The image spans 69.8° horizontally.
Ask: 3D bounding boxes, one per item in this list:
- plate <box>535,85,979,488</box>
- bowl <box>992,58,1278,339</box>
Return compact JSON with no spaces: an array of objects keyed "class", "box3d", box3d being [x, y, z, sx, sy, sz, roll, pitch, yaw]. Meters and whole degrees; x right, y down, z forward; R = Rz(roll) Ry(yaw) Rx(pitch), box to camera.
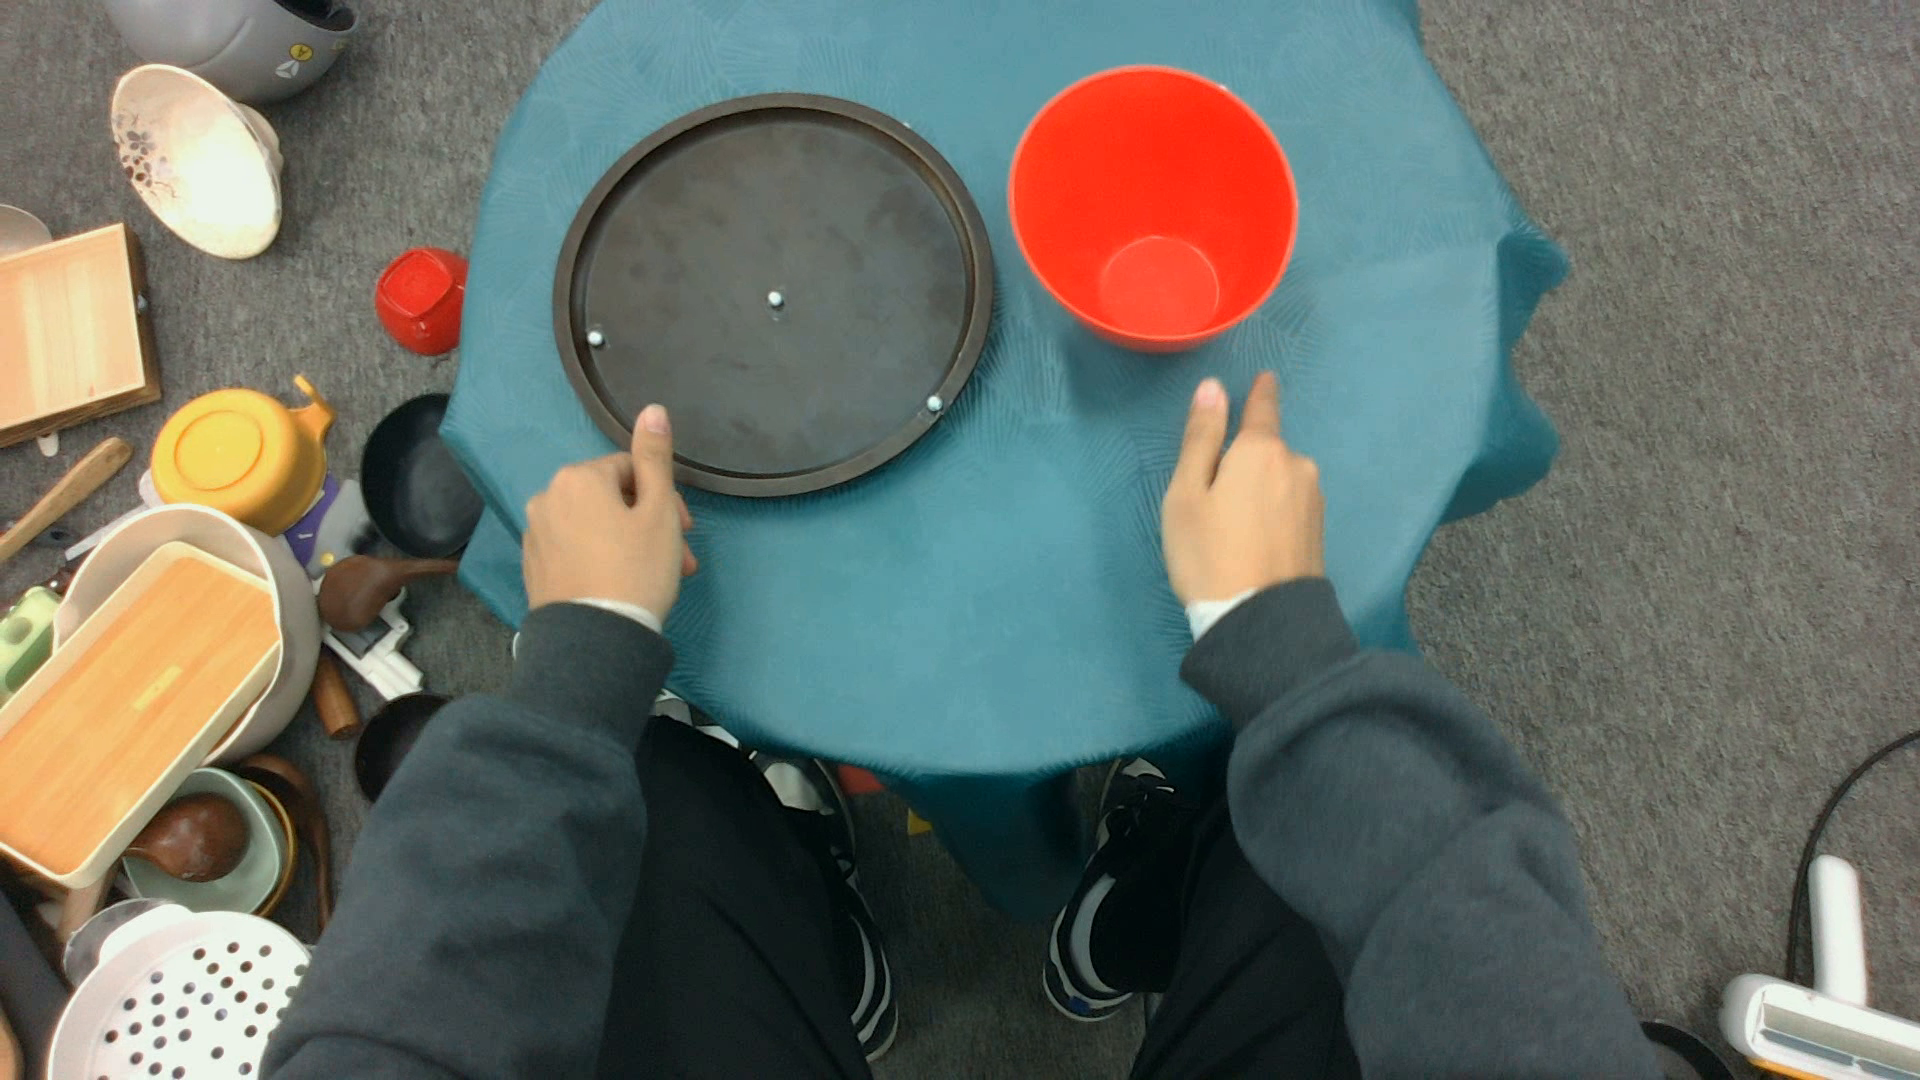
[{"class":"plate","box3d":[-0.116,-0.148,0.787,0.255,0.029,0.255,0,73,1]},{"class":"bowl","box3d":[0.092,-0.169,0.742,0.148,0.104,0.148,-1,70,2]}]
